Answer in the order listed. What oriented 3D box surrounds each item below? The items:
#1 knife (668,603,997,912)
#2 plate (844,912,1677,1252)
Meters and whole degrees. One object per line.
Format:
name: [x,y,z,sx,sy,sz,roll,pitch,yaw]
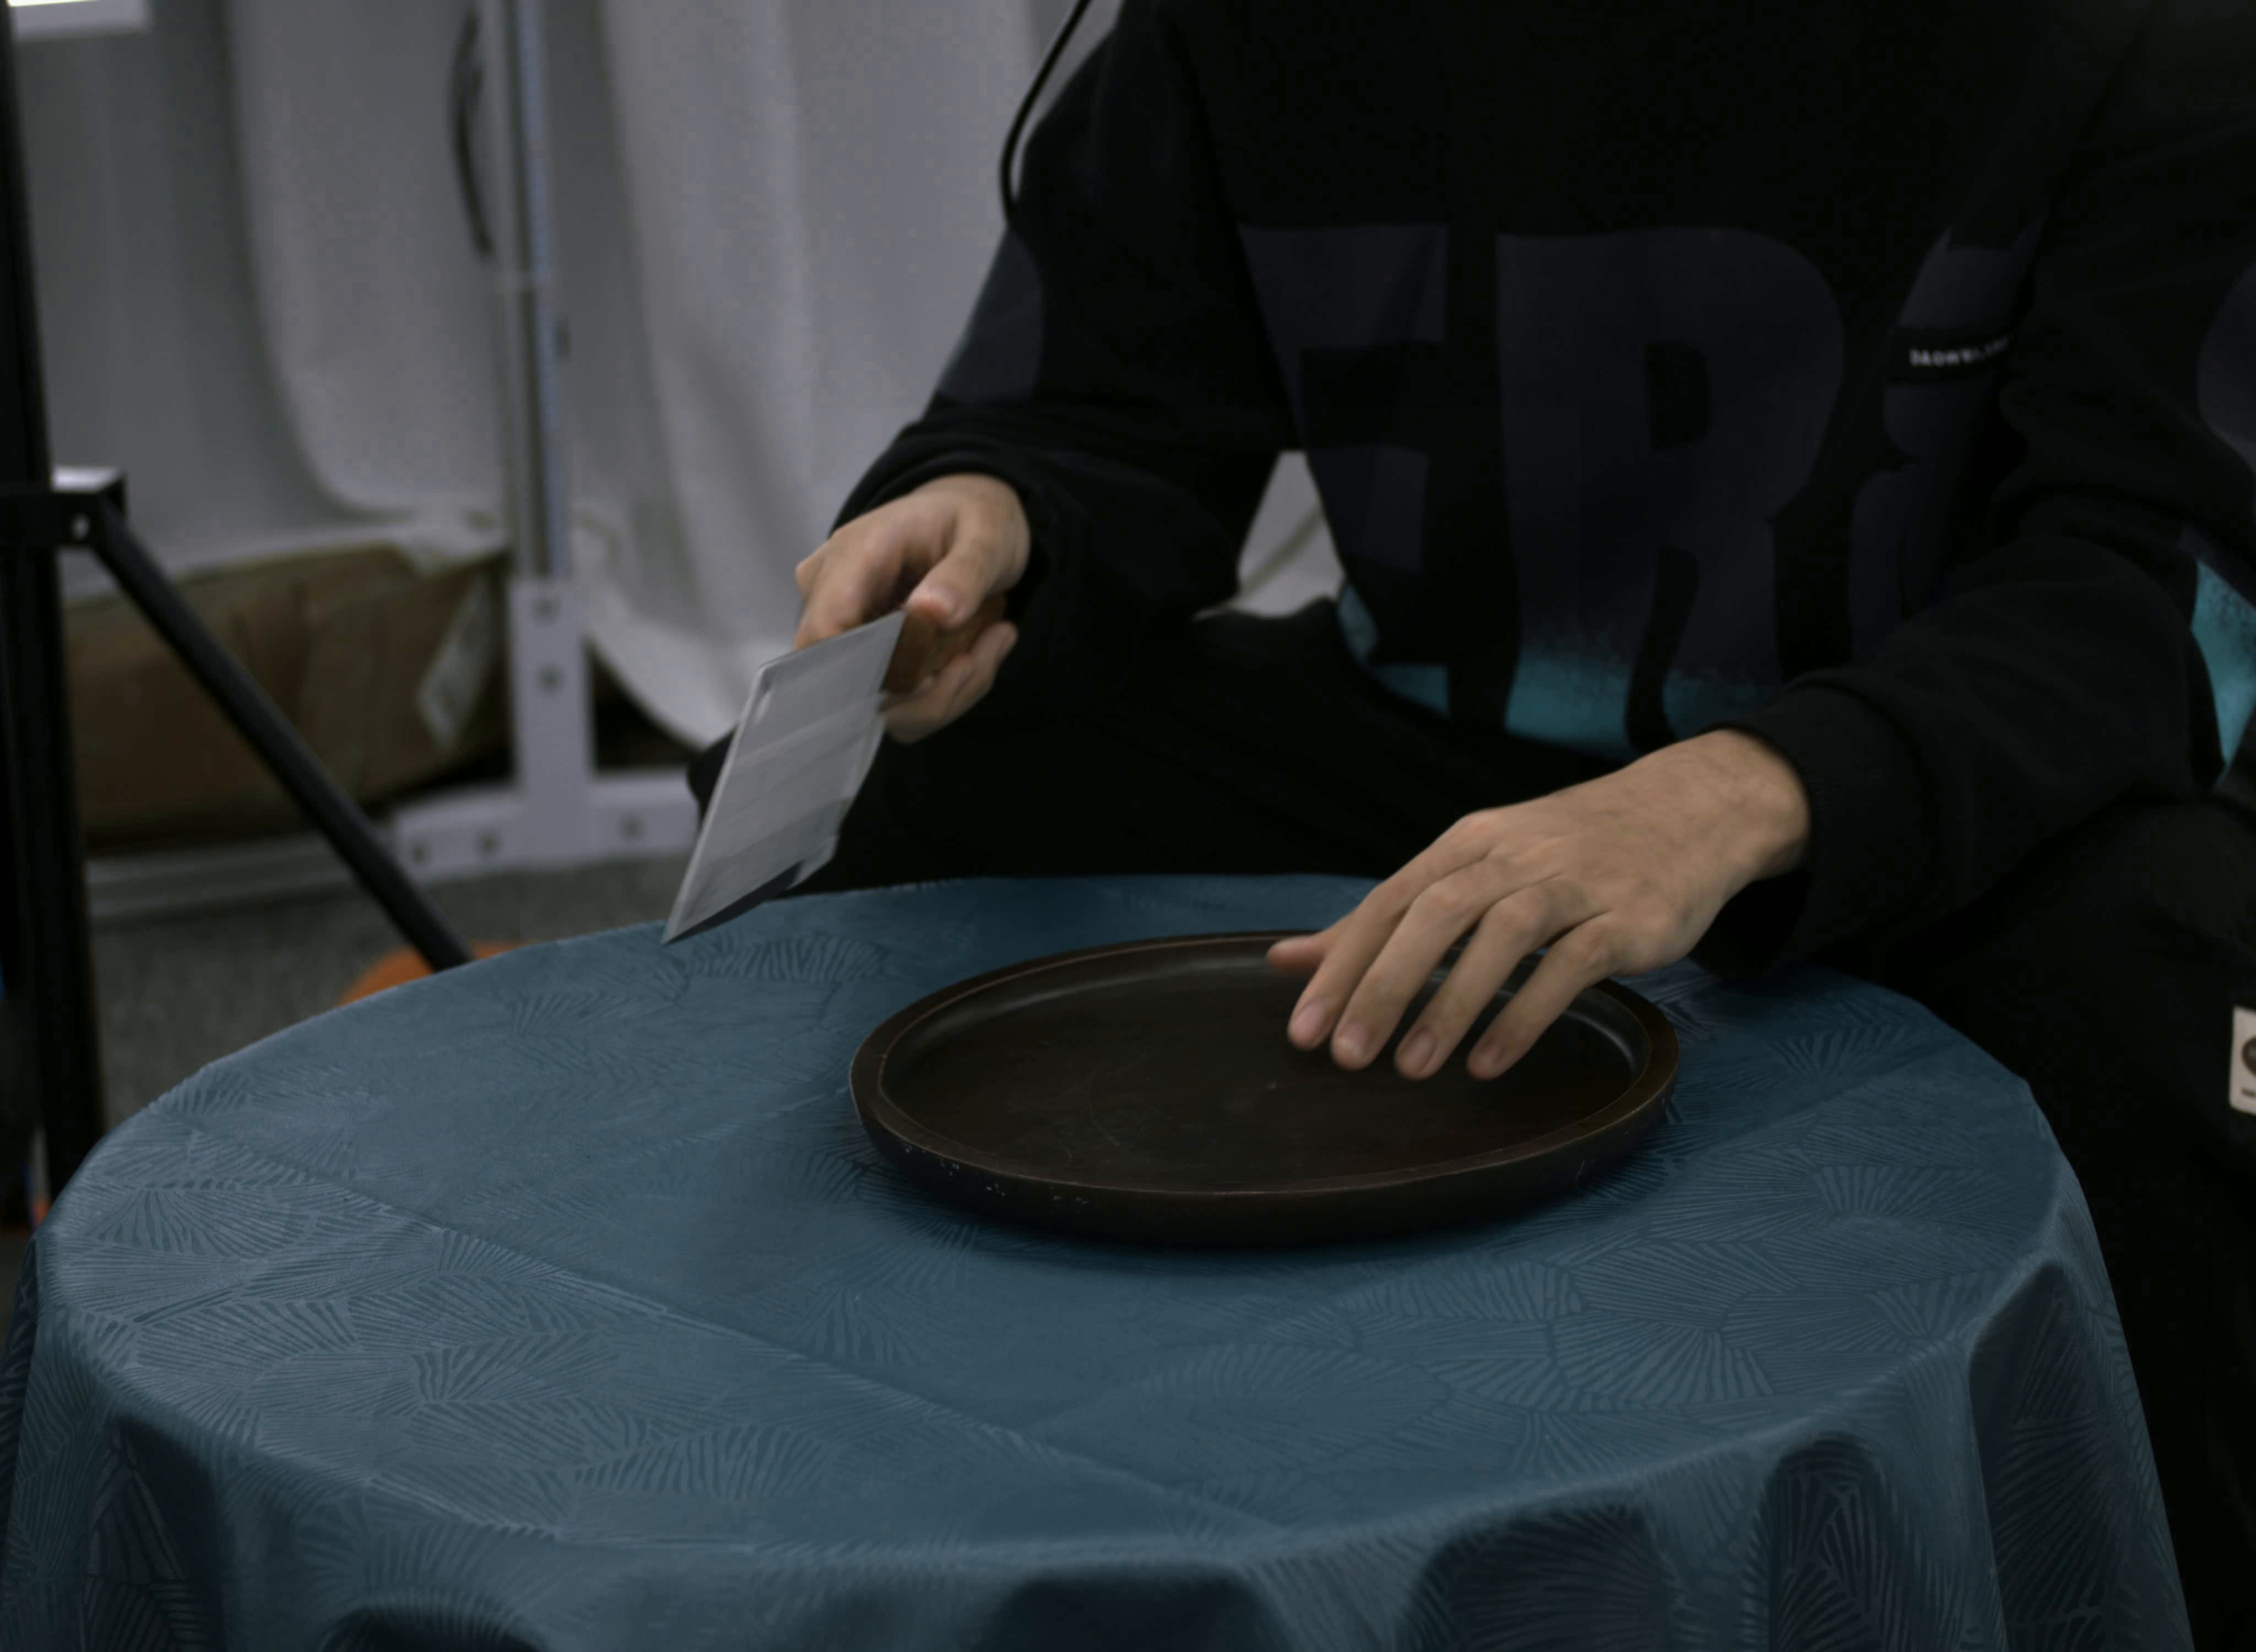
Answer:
knife: [-0.094,-0.022,1.687,0.021,0.093,0.303,23,11,8]
plate: [0.040,0.078,1.610,0.253,0.029,0.256,-5,16,0]
